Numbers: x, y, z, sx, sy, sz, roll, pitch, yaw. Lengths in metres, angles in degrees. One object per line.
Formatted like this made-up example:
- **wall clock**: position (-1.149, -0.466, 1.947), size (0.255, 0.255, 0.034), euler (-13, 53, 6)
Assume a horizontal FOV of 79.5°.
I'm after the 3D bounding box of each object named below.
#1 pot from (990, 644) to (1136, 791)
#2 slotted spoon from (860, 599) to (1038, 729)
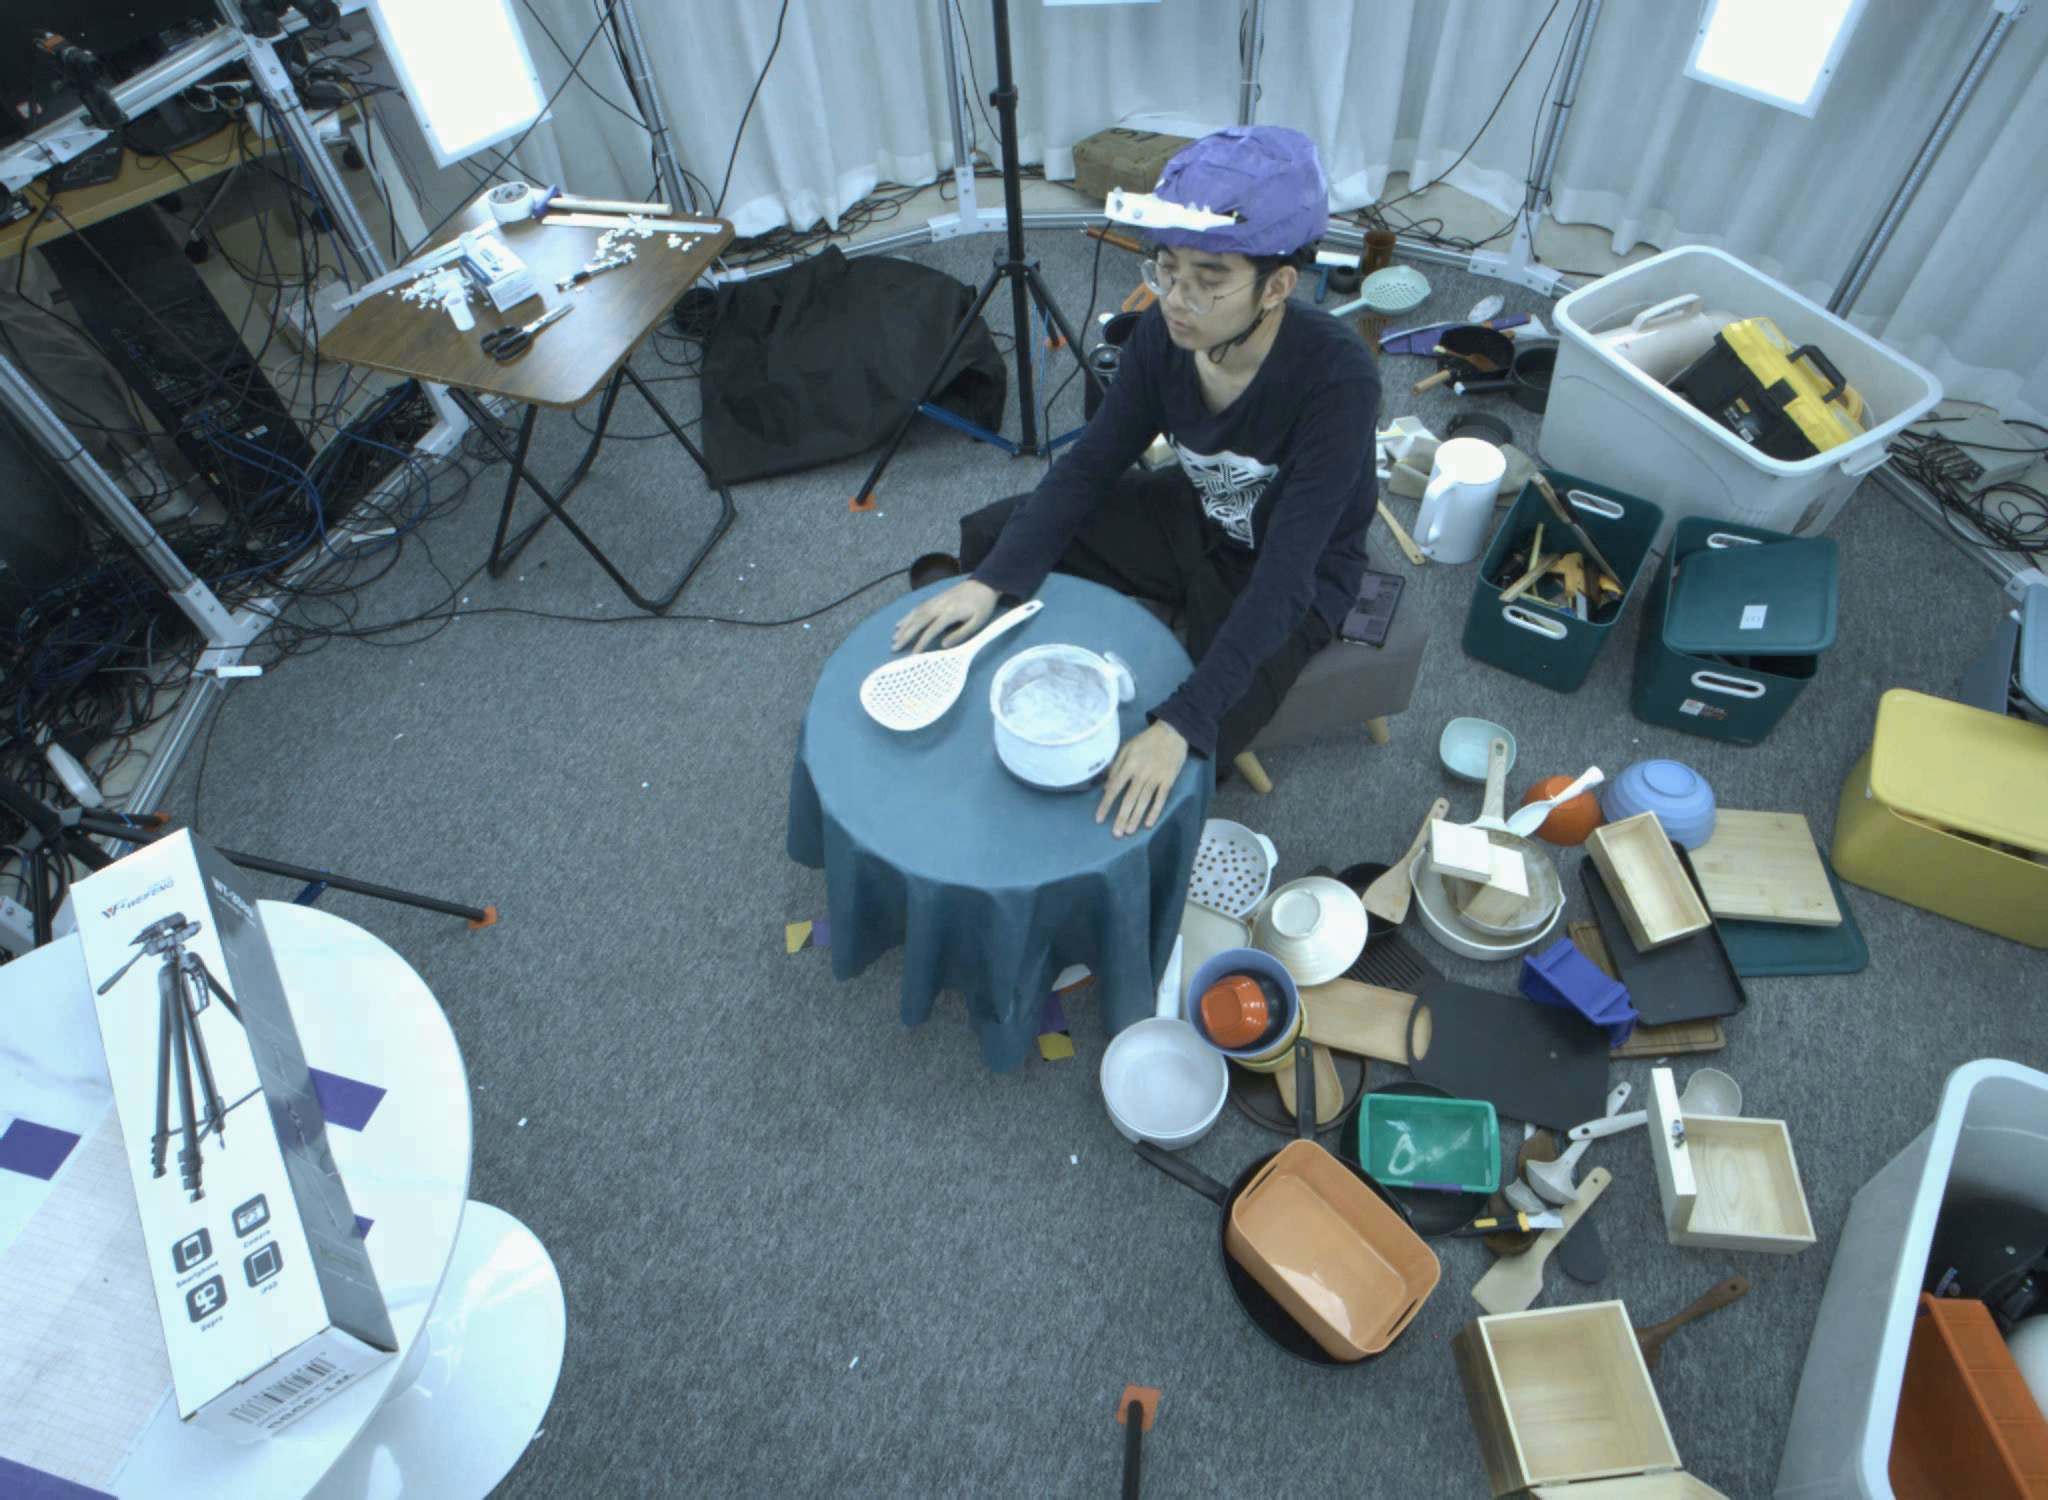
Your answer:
- **pot**: position (0.066, -0.057, 1.749), size (0.235, 0.138, 0.175), euler (-36, 63, -21)
- **slotted spoon**: position (-0.097, -0.142, 1.872), size (0.134, 0.051, 0.350), euler (36, 63, 25)
